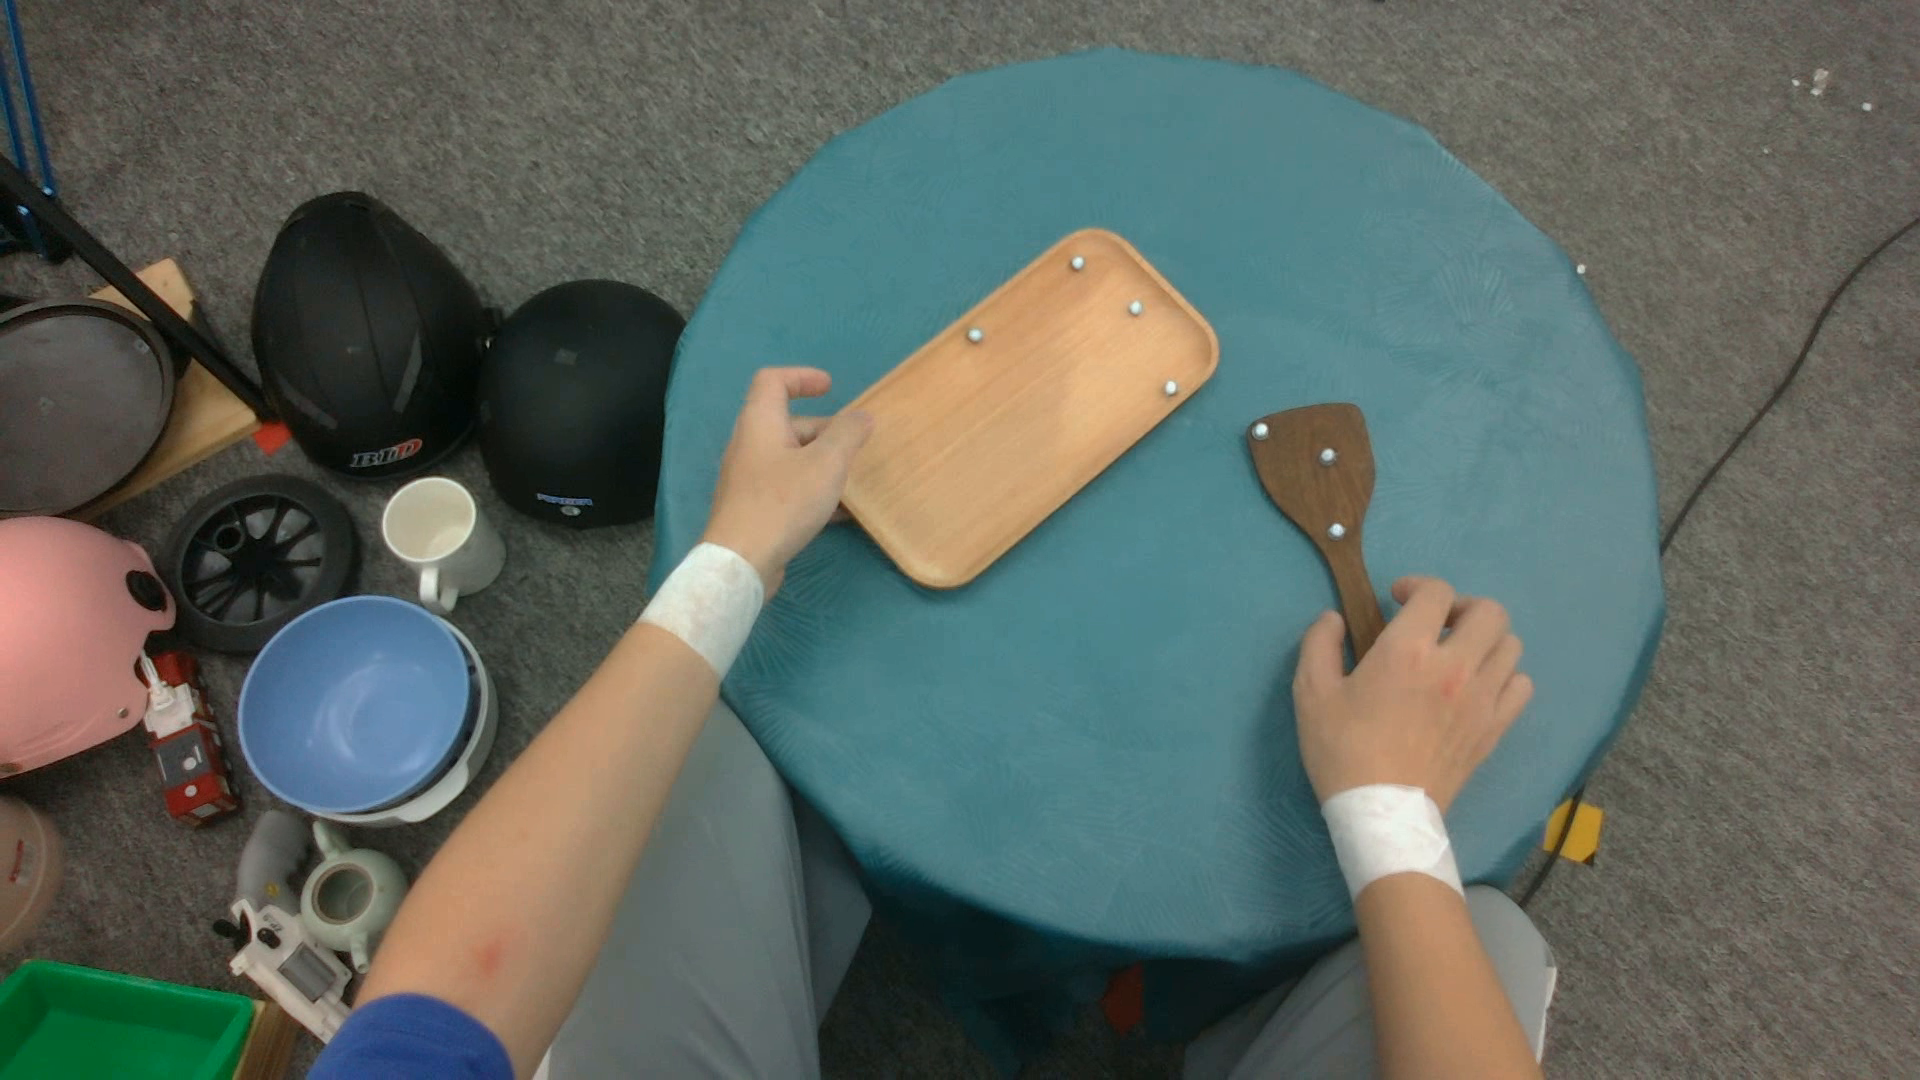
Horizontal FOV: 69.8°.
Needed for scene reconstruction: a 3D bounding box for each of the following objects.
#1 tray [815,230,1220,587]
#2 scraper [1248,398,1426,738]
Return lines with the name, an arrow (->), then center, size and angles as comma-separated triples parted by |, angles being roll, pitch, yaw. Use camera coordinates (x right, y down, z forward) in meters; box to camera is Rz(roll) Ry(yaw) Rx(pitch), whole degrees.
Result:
tray -> 0.038, -0.083, 0.834 | 0.251, 0.023, 0.130 | -39, 76, -16
scraper -> 0.229, 0.013, 0.808 | 0.076, 0.011, 0.212 | -10, 68, -4
